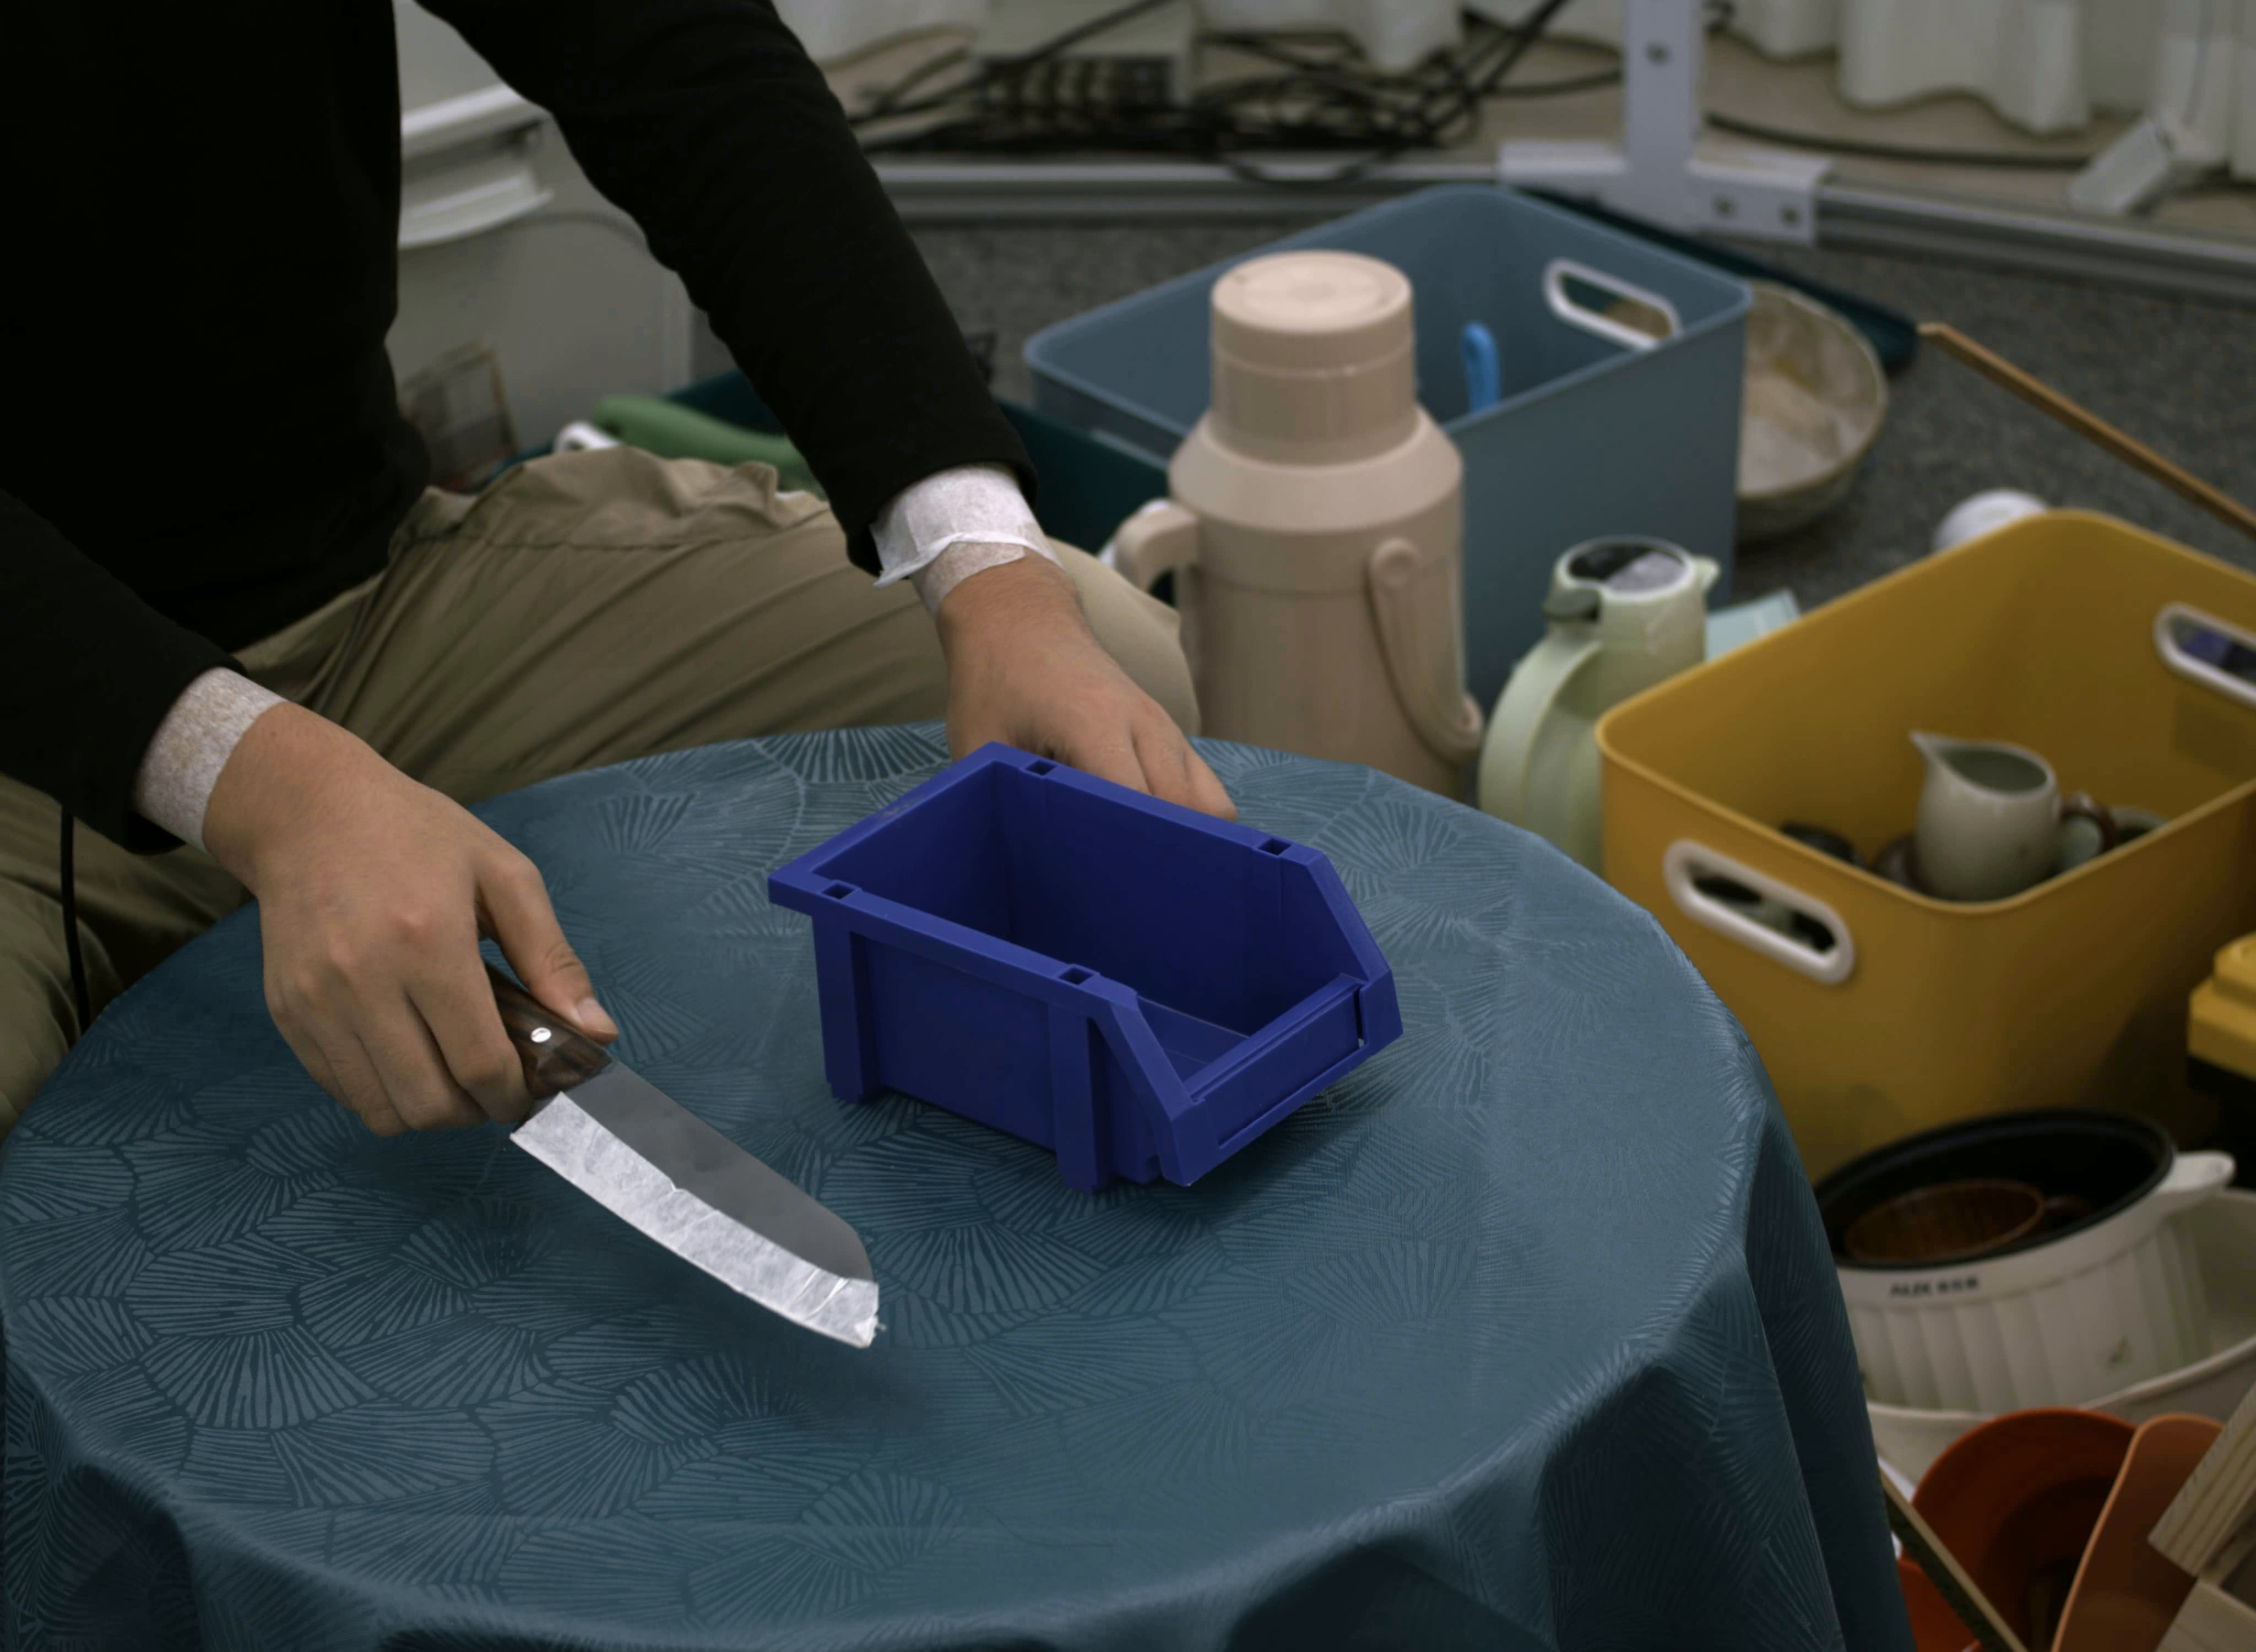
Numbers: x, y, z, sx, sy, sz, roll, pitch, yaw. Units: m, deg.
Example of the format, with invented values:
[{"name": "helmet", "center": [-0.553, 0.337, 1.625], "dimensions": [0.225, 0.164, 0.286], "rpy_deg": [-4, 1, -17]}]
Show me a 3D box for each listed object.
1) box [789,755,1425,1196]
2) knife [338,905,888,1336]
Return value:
[{"name": "box", "center": [-0.006, 0.053, 1.907], "dimensions": [0.178, 0.081, 0.126], "rpy_deg": [16, 32, 38]}, {"name": "knife", "center": [-0.169, 0.094, 1.813], "dimensions": [0.051, 0.020, 0.290], "rpy_deg": [-39, 47, -21]}]
